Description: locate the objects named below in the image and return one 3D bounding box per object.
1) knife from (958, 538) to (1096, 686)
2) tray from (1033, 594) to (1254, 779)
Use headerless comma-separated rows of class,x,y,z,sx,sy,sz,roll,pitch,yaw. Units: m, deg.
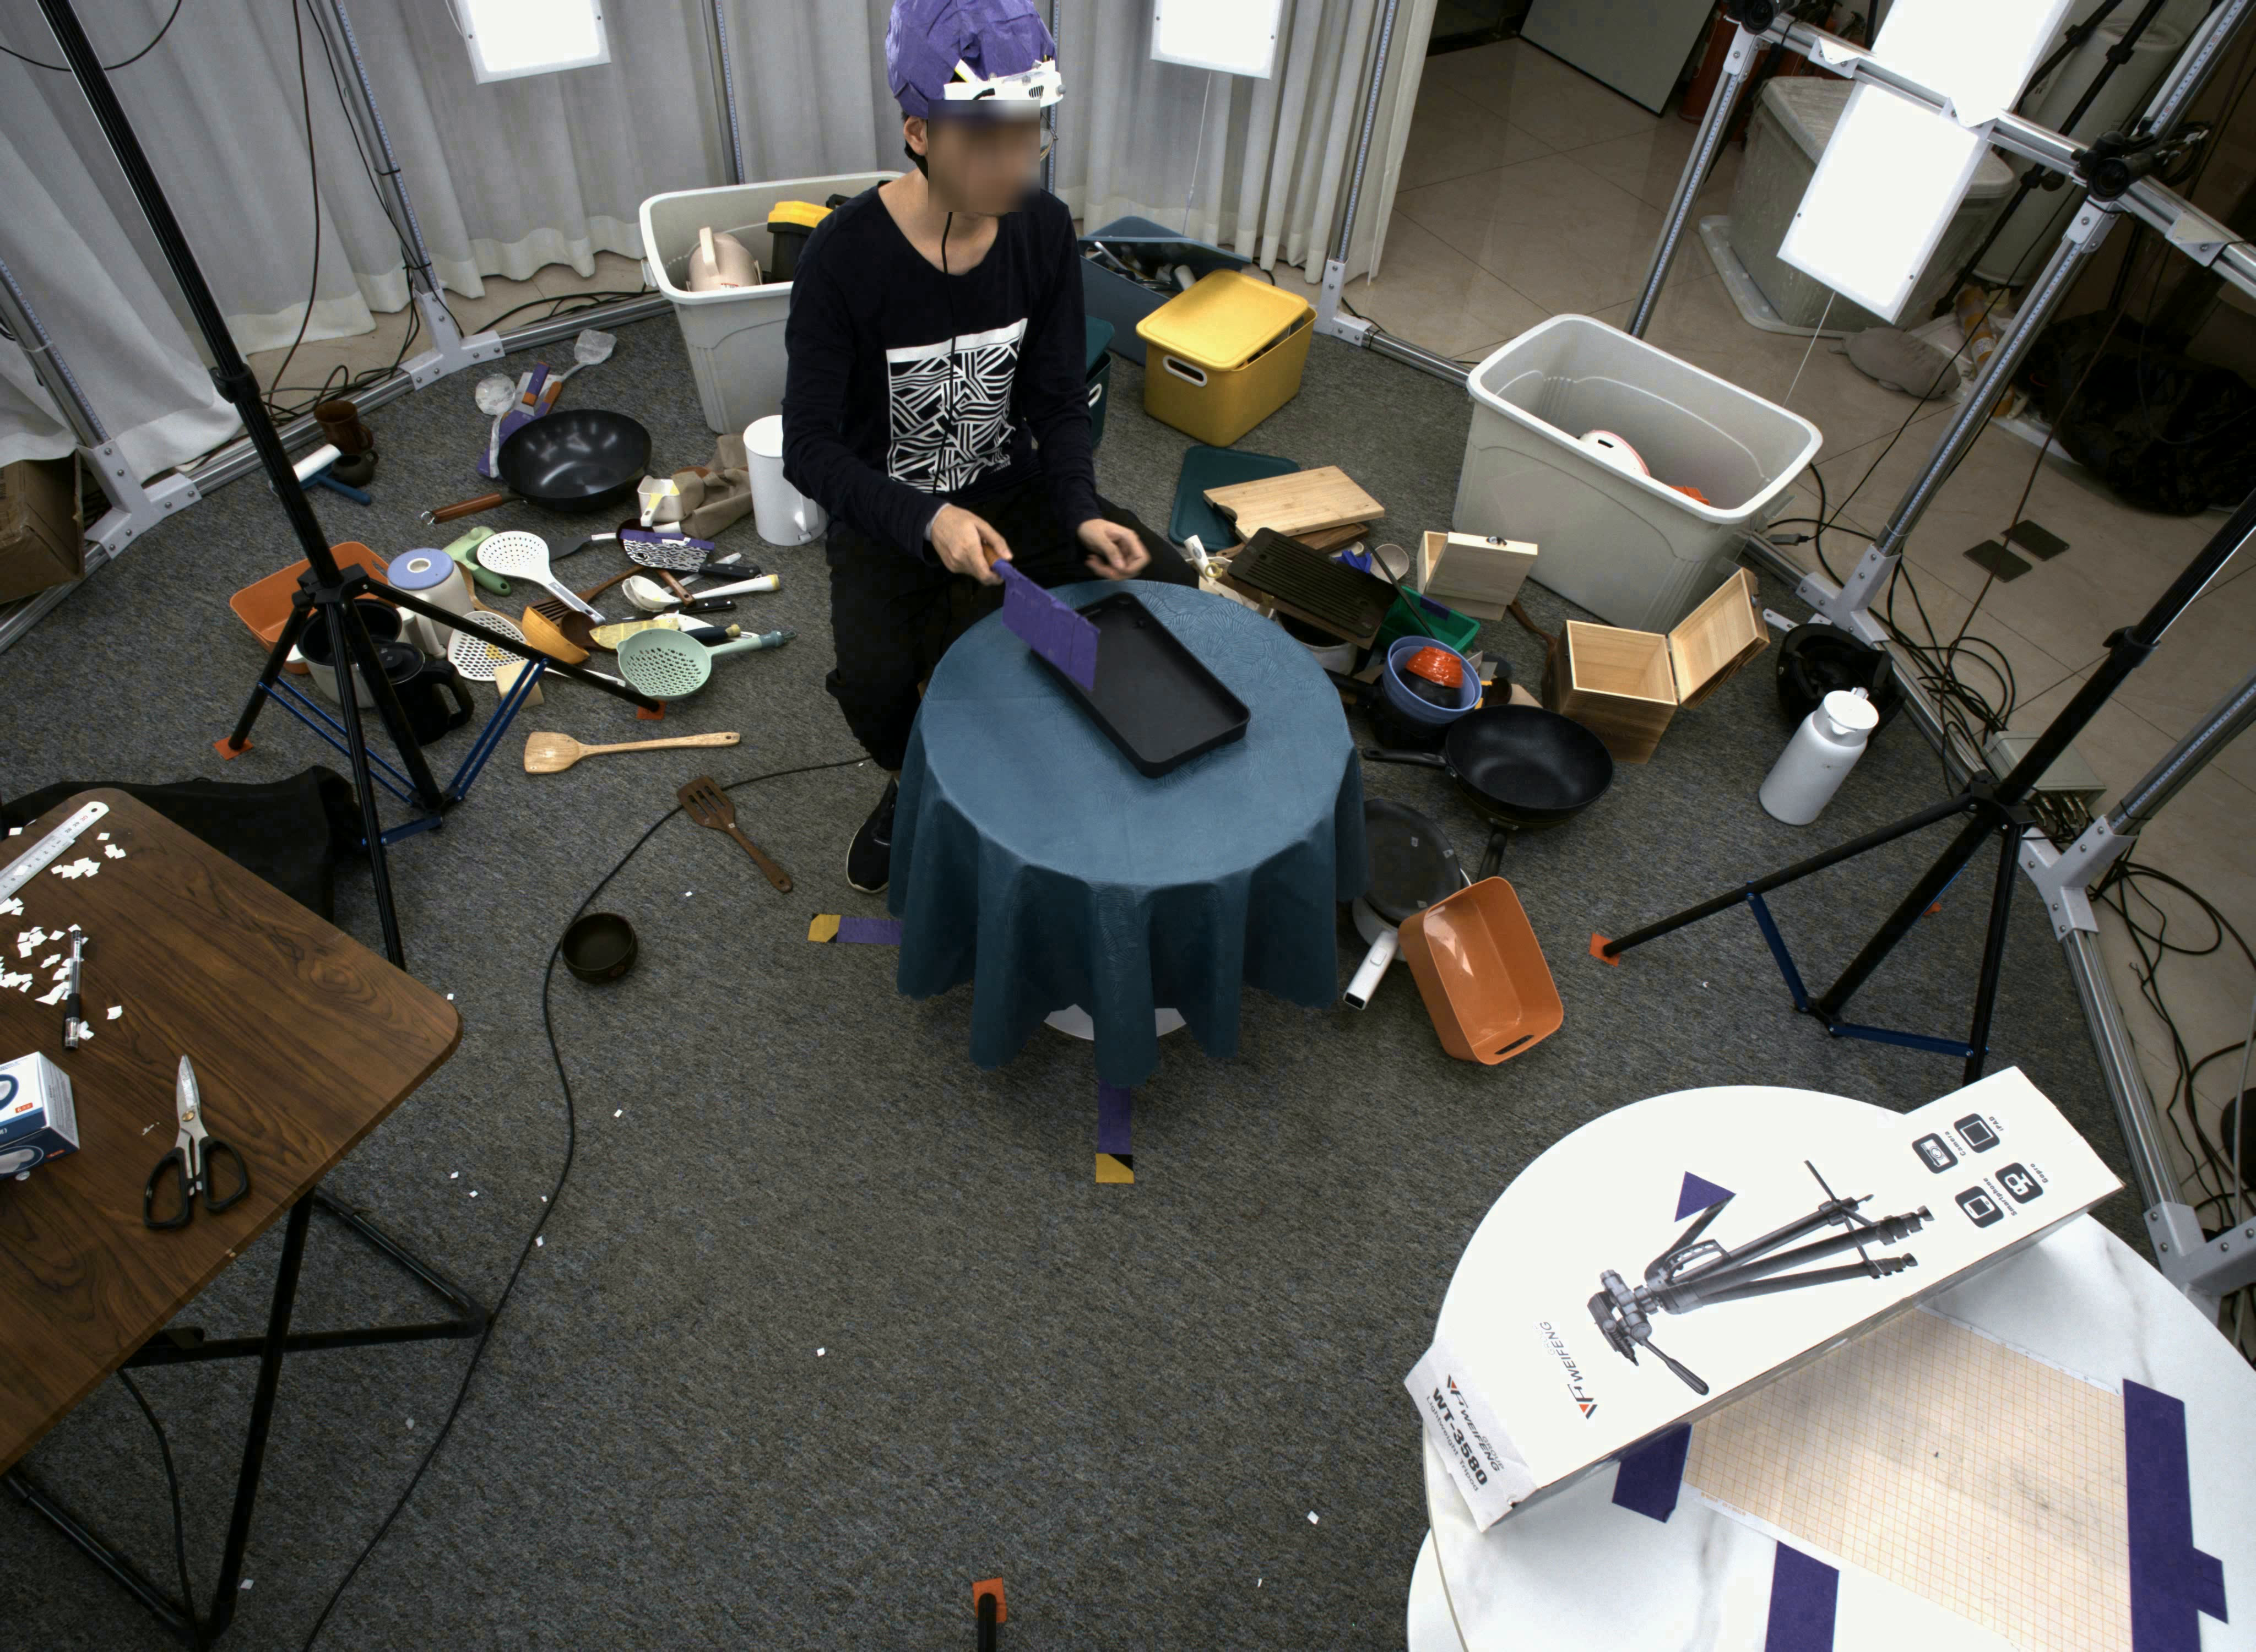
knife,-0.141,-0.290,1.741,0.032,0.102,0.321,-14,39,-34
tray,0.017,-0.204,1.824,0.185,0.036,0.324,-27,55,-24
